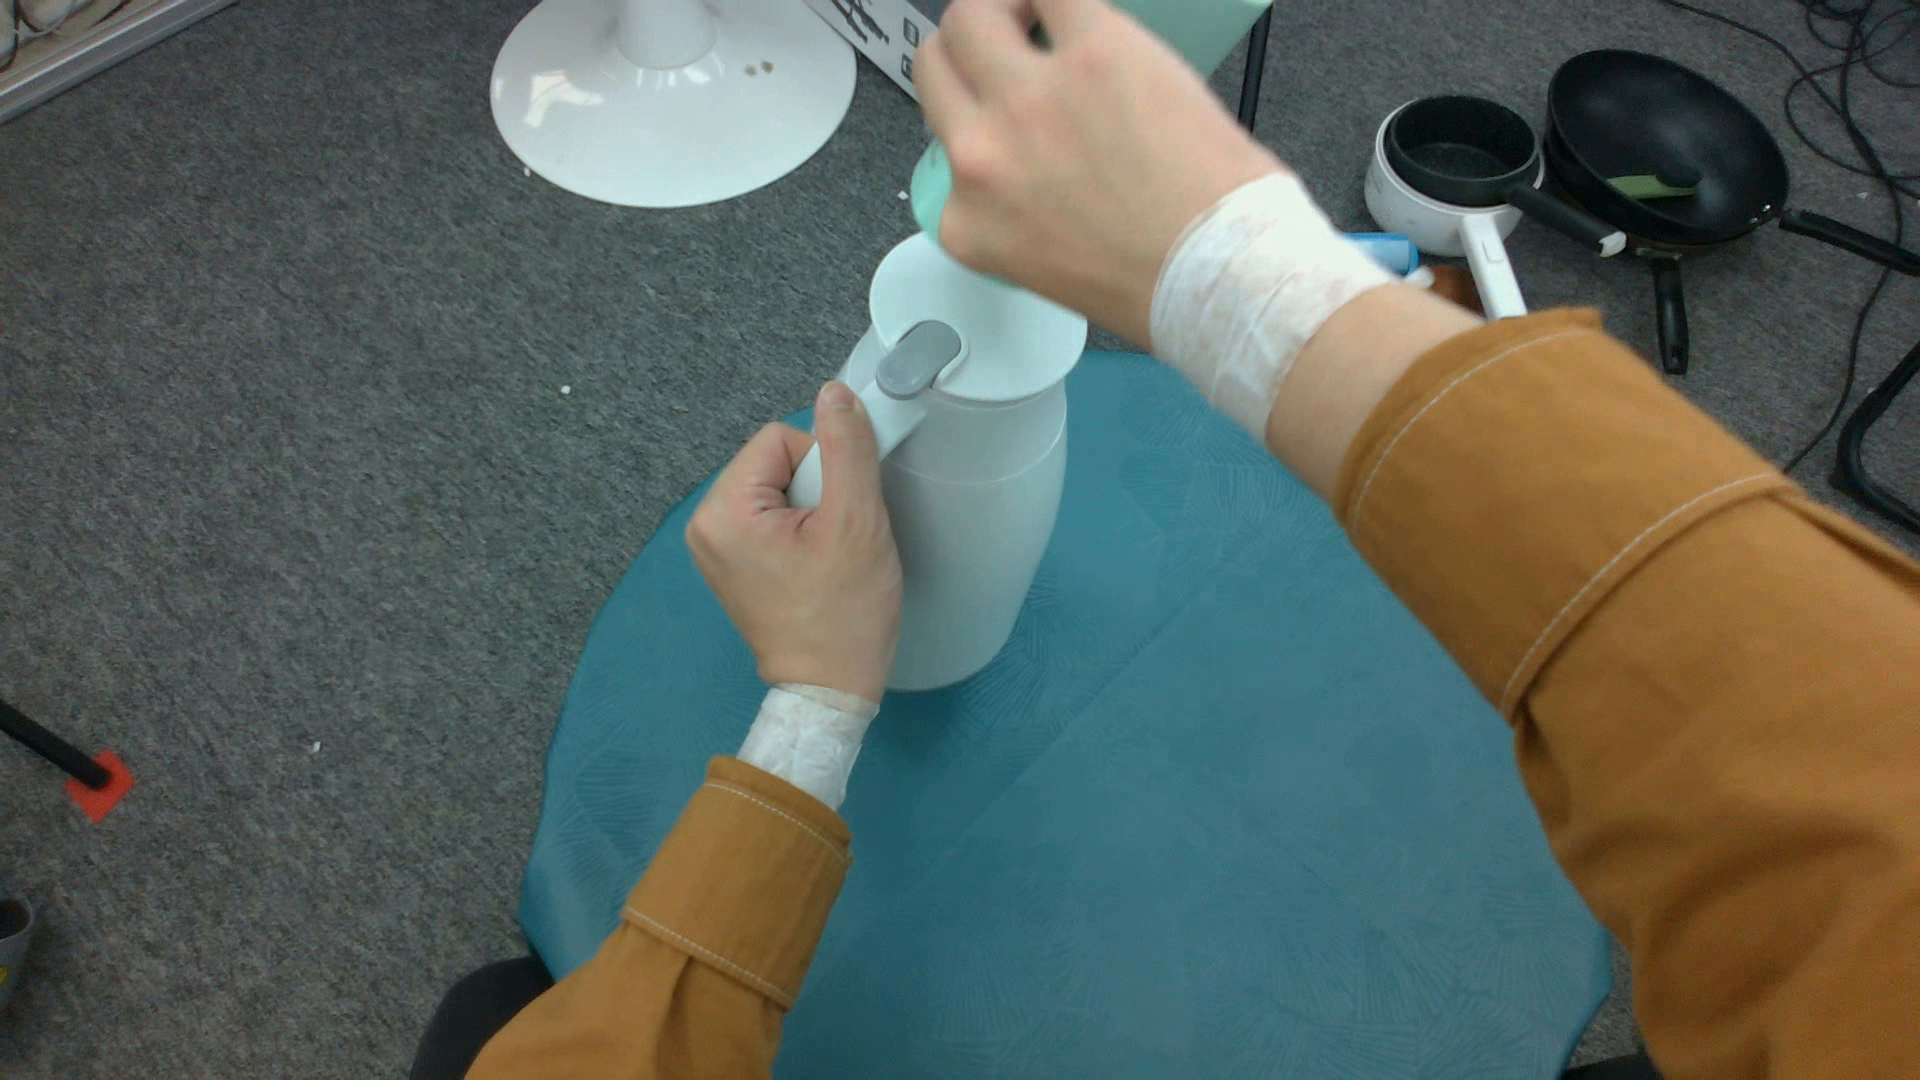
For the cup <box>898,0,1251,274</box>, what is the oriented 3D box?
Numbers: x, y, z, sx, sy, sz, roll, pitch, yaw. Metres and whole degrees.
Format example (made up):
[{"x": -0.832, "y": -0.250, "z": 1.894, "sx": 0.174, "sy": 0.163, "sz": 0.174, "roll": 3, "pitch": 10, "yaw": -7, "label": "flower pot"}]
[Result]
[{"x": 0.037, "y": -0.161, "z": 0.487, "sx": 0.067, "sy": 0.131, "sz": 0.067, "roll": 22, "pitch": 46, "yaw": -24, "label": "cup"}]

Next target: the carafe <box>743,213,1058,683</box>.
[{"x": -0.034, "y": -0.031, "z": 0.656, "sx": 0.132, "sy": 0.247, "sz": 0.168, "roll": 42, "pitch": 61, "yaw": 15, "label": "carafe"}]
